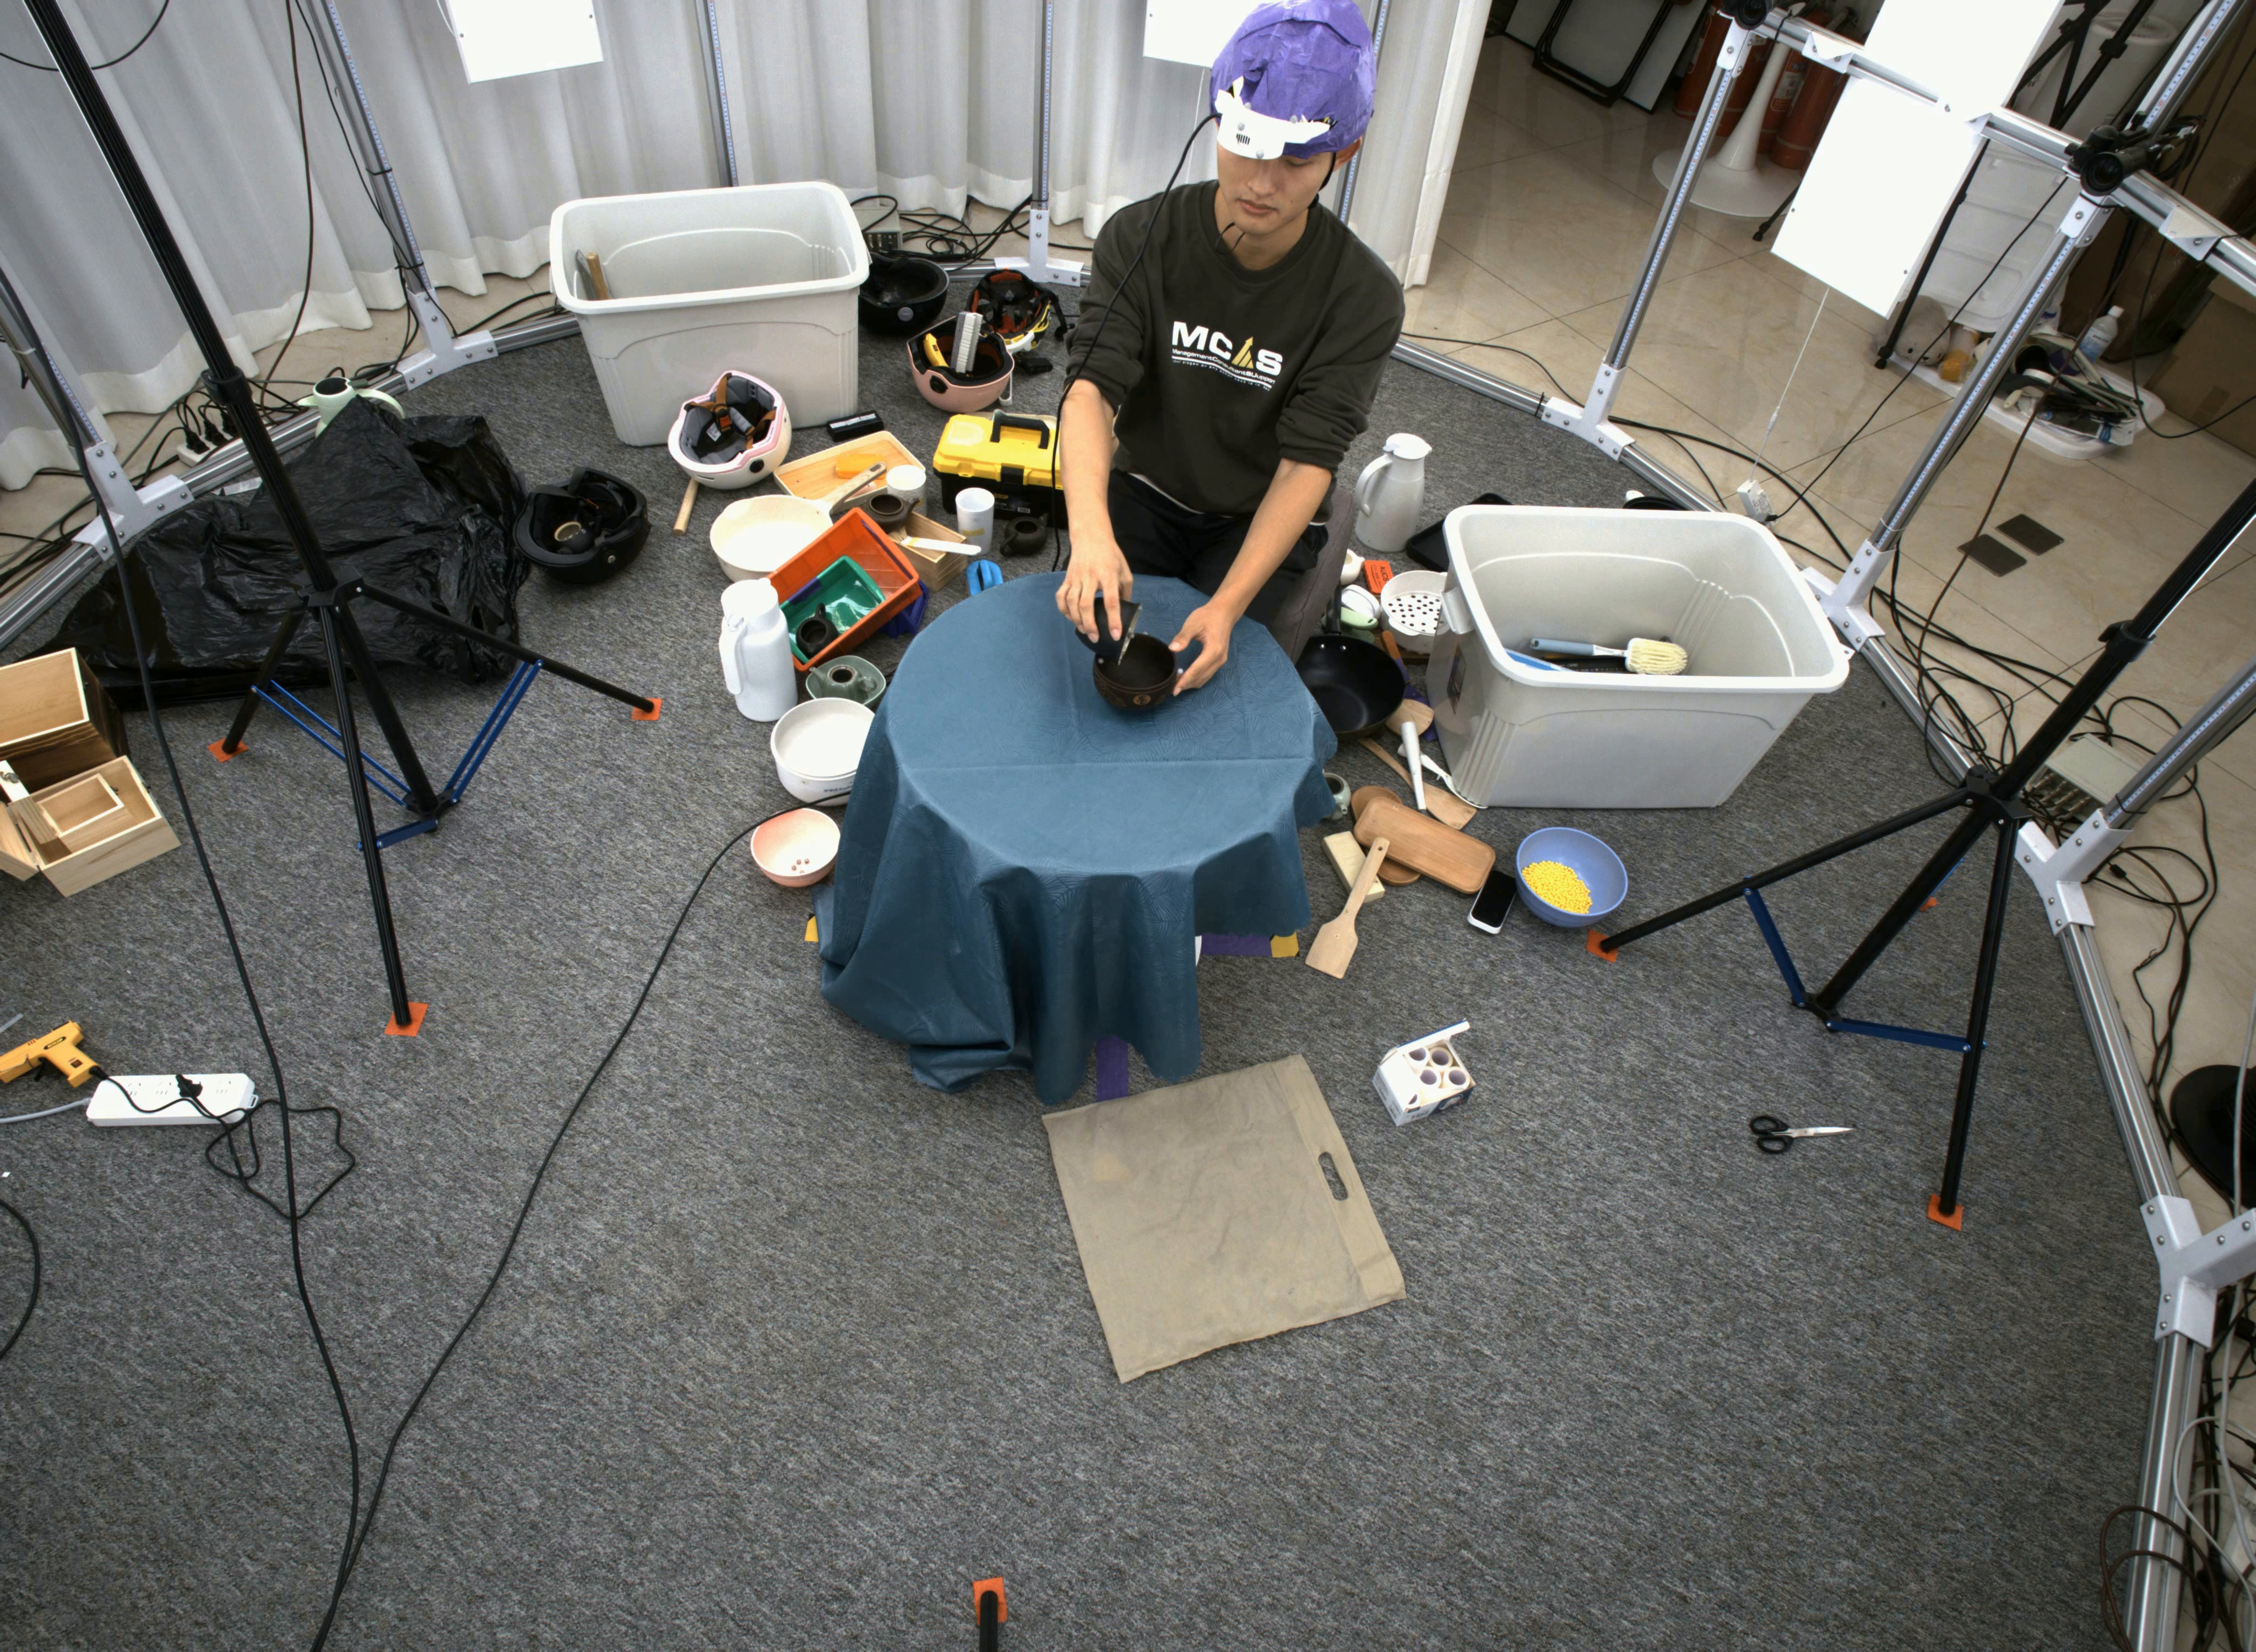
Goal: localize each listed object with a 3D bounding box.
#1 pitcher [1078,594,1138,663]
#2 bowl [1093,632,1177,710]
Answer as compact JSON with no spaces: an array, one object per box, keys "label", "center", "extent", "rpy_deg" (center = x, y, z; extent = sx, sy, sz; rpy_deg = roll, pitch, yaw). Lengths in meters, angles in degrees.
[{"label":"pitcher","center":[-0.028,-0.273,1.754],"extent":[0.071,0.094,0.085],"rpy_deg":[21,42,-1]},{"label":"bowl","center":[0.009,-0.210,1.801],"extent":[0.118,0.068,0.121],"rpy_deg":[1,51,-2]}]
